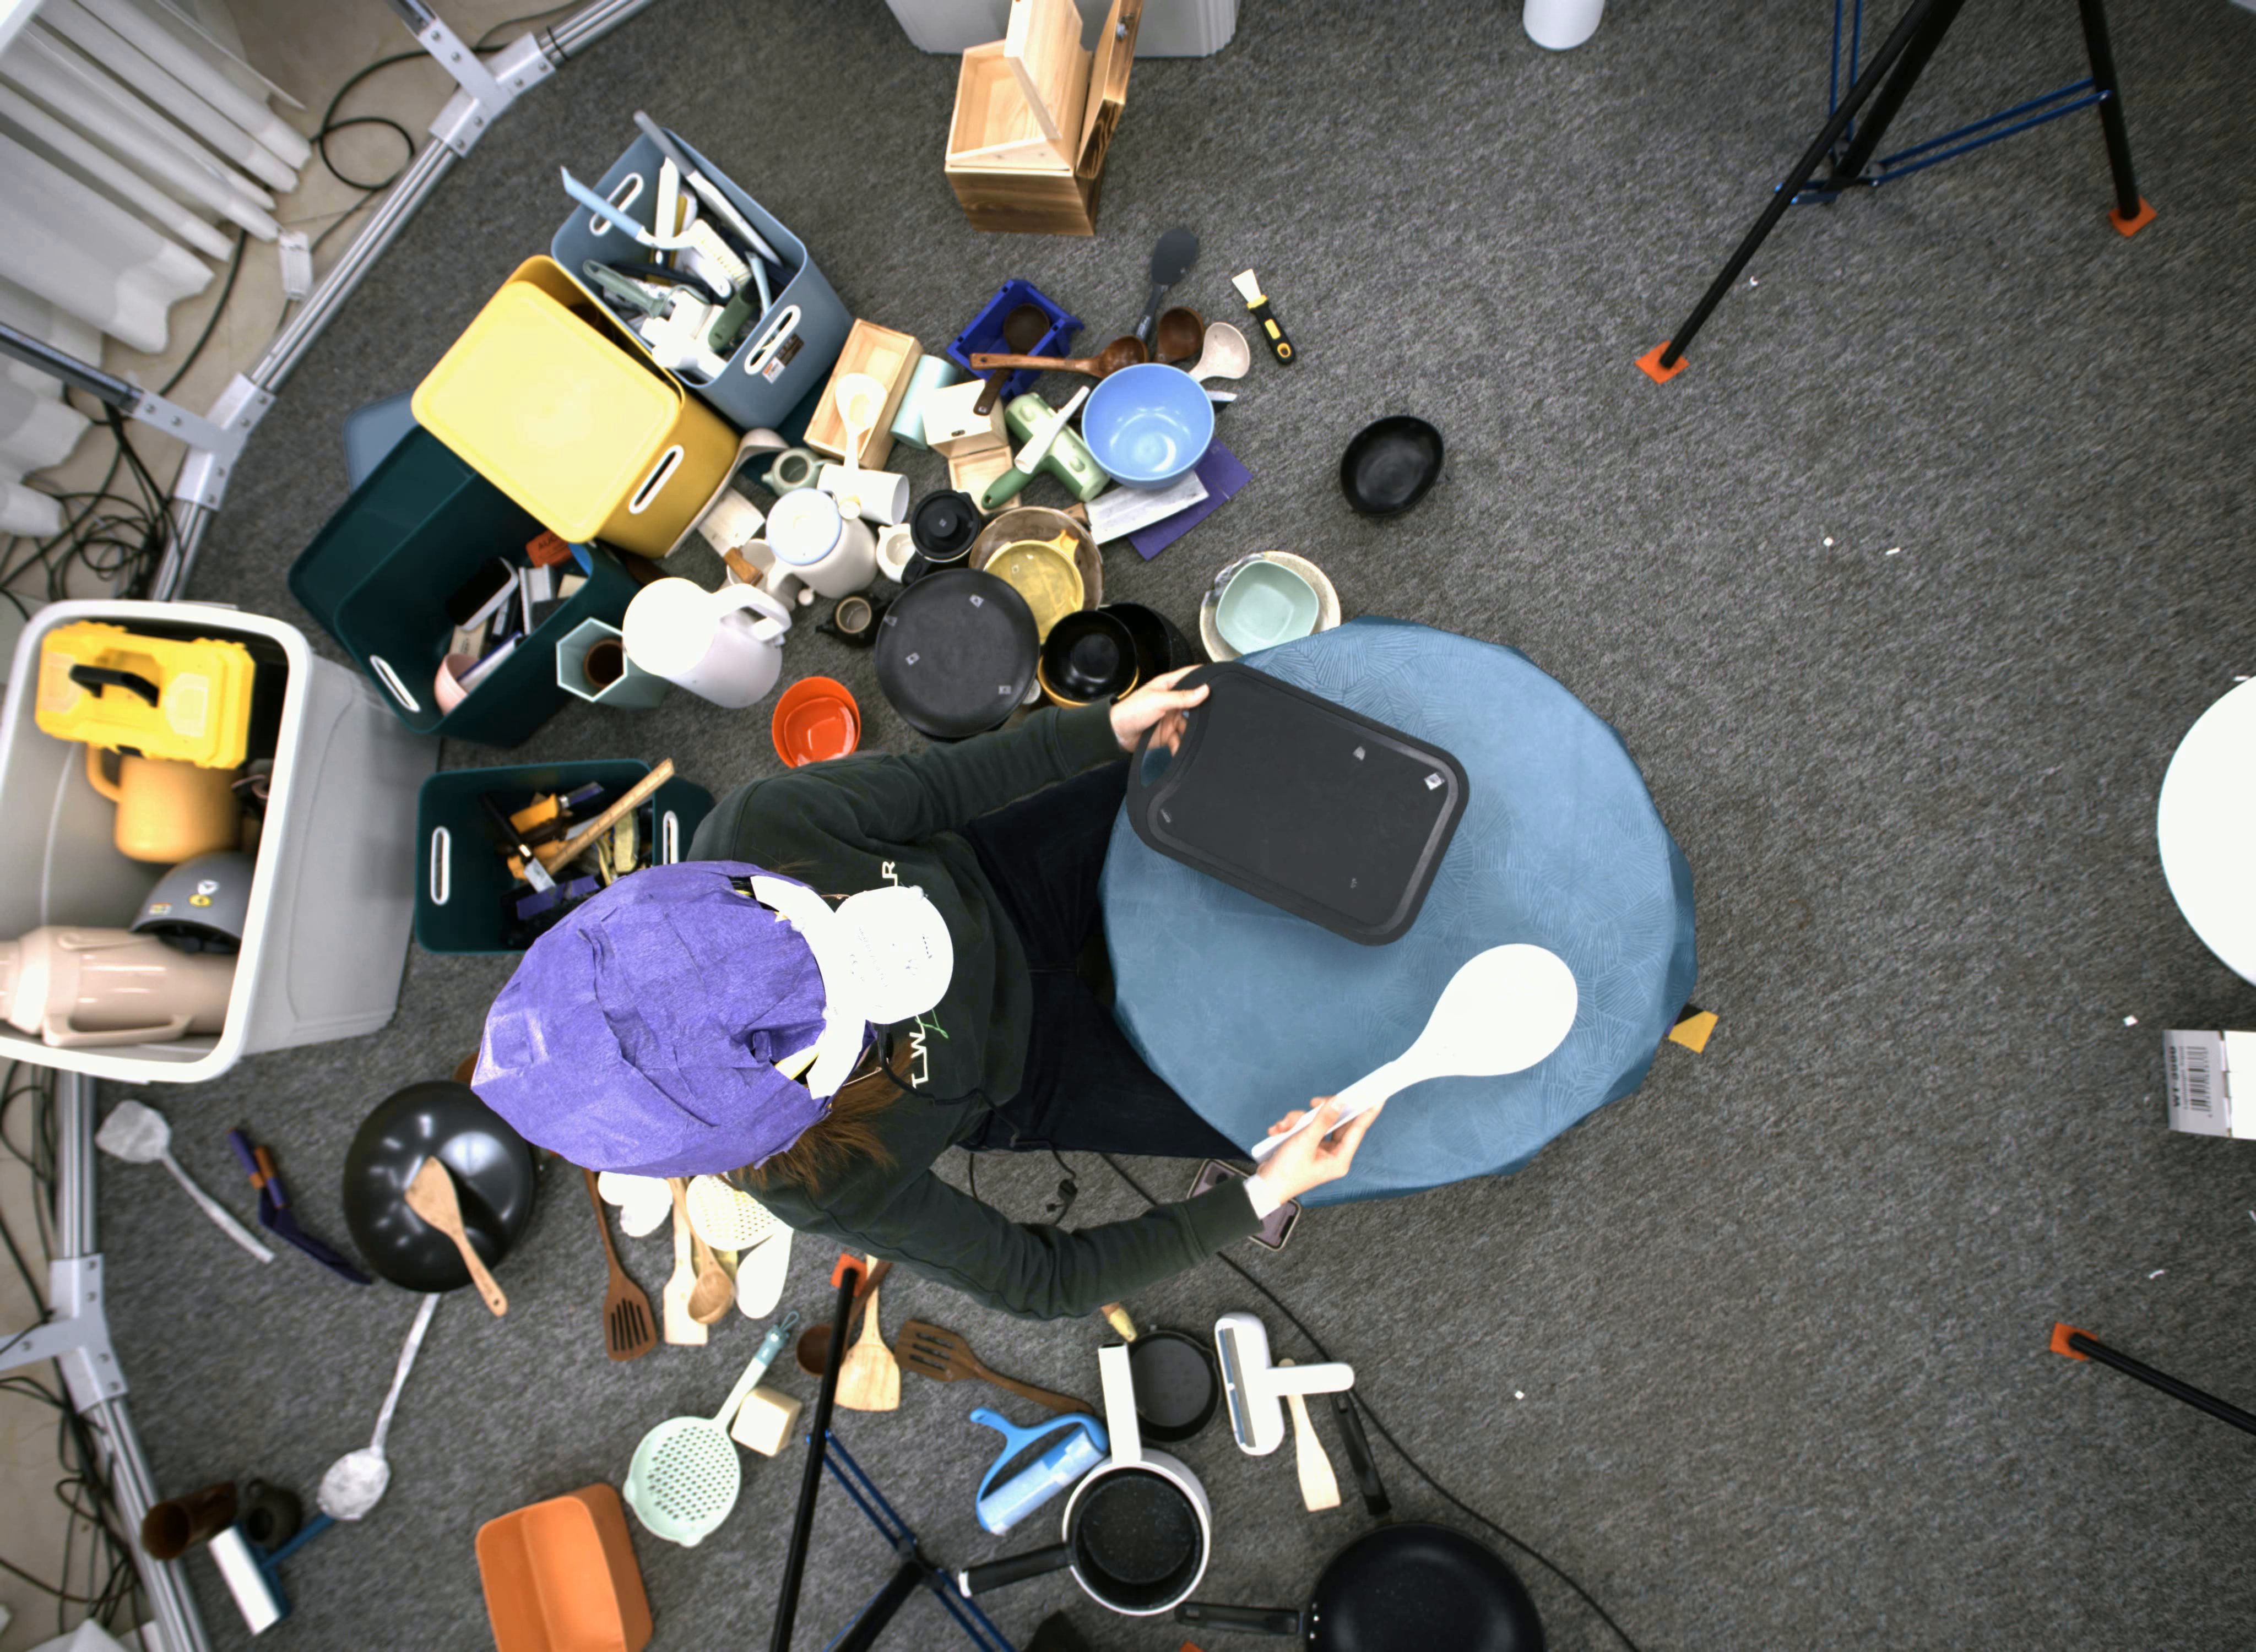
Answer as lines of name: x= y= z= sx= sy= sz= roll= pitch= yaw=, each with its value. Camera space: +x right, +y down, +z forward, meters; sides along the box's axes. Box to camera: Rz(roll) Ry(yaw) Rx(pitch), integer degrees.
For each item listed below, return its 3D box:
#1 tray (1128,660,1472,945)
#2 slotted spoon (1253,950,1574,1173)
tray: x=0.162 y=-0.030 z=1.372 sx=0.325 sy=0.010 sz=0.210 roll=25 pitch=88 yaw=10
slotted spoon: x=0.276 y=0.238 z=1.351 sx=0.350 sy=0.045 sz=0.137 roll=-34 pitch=109 yaw=1
